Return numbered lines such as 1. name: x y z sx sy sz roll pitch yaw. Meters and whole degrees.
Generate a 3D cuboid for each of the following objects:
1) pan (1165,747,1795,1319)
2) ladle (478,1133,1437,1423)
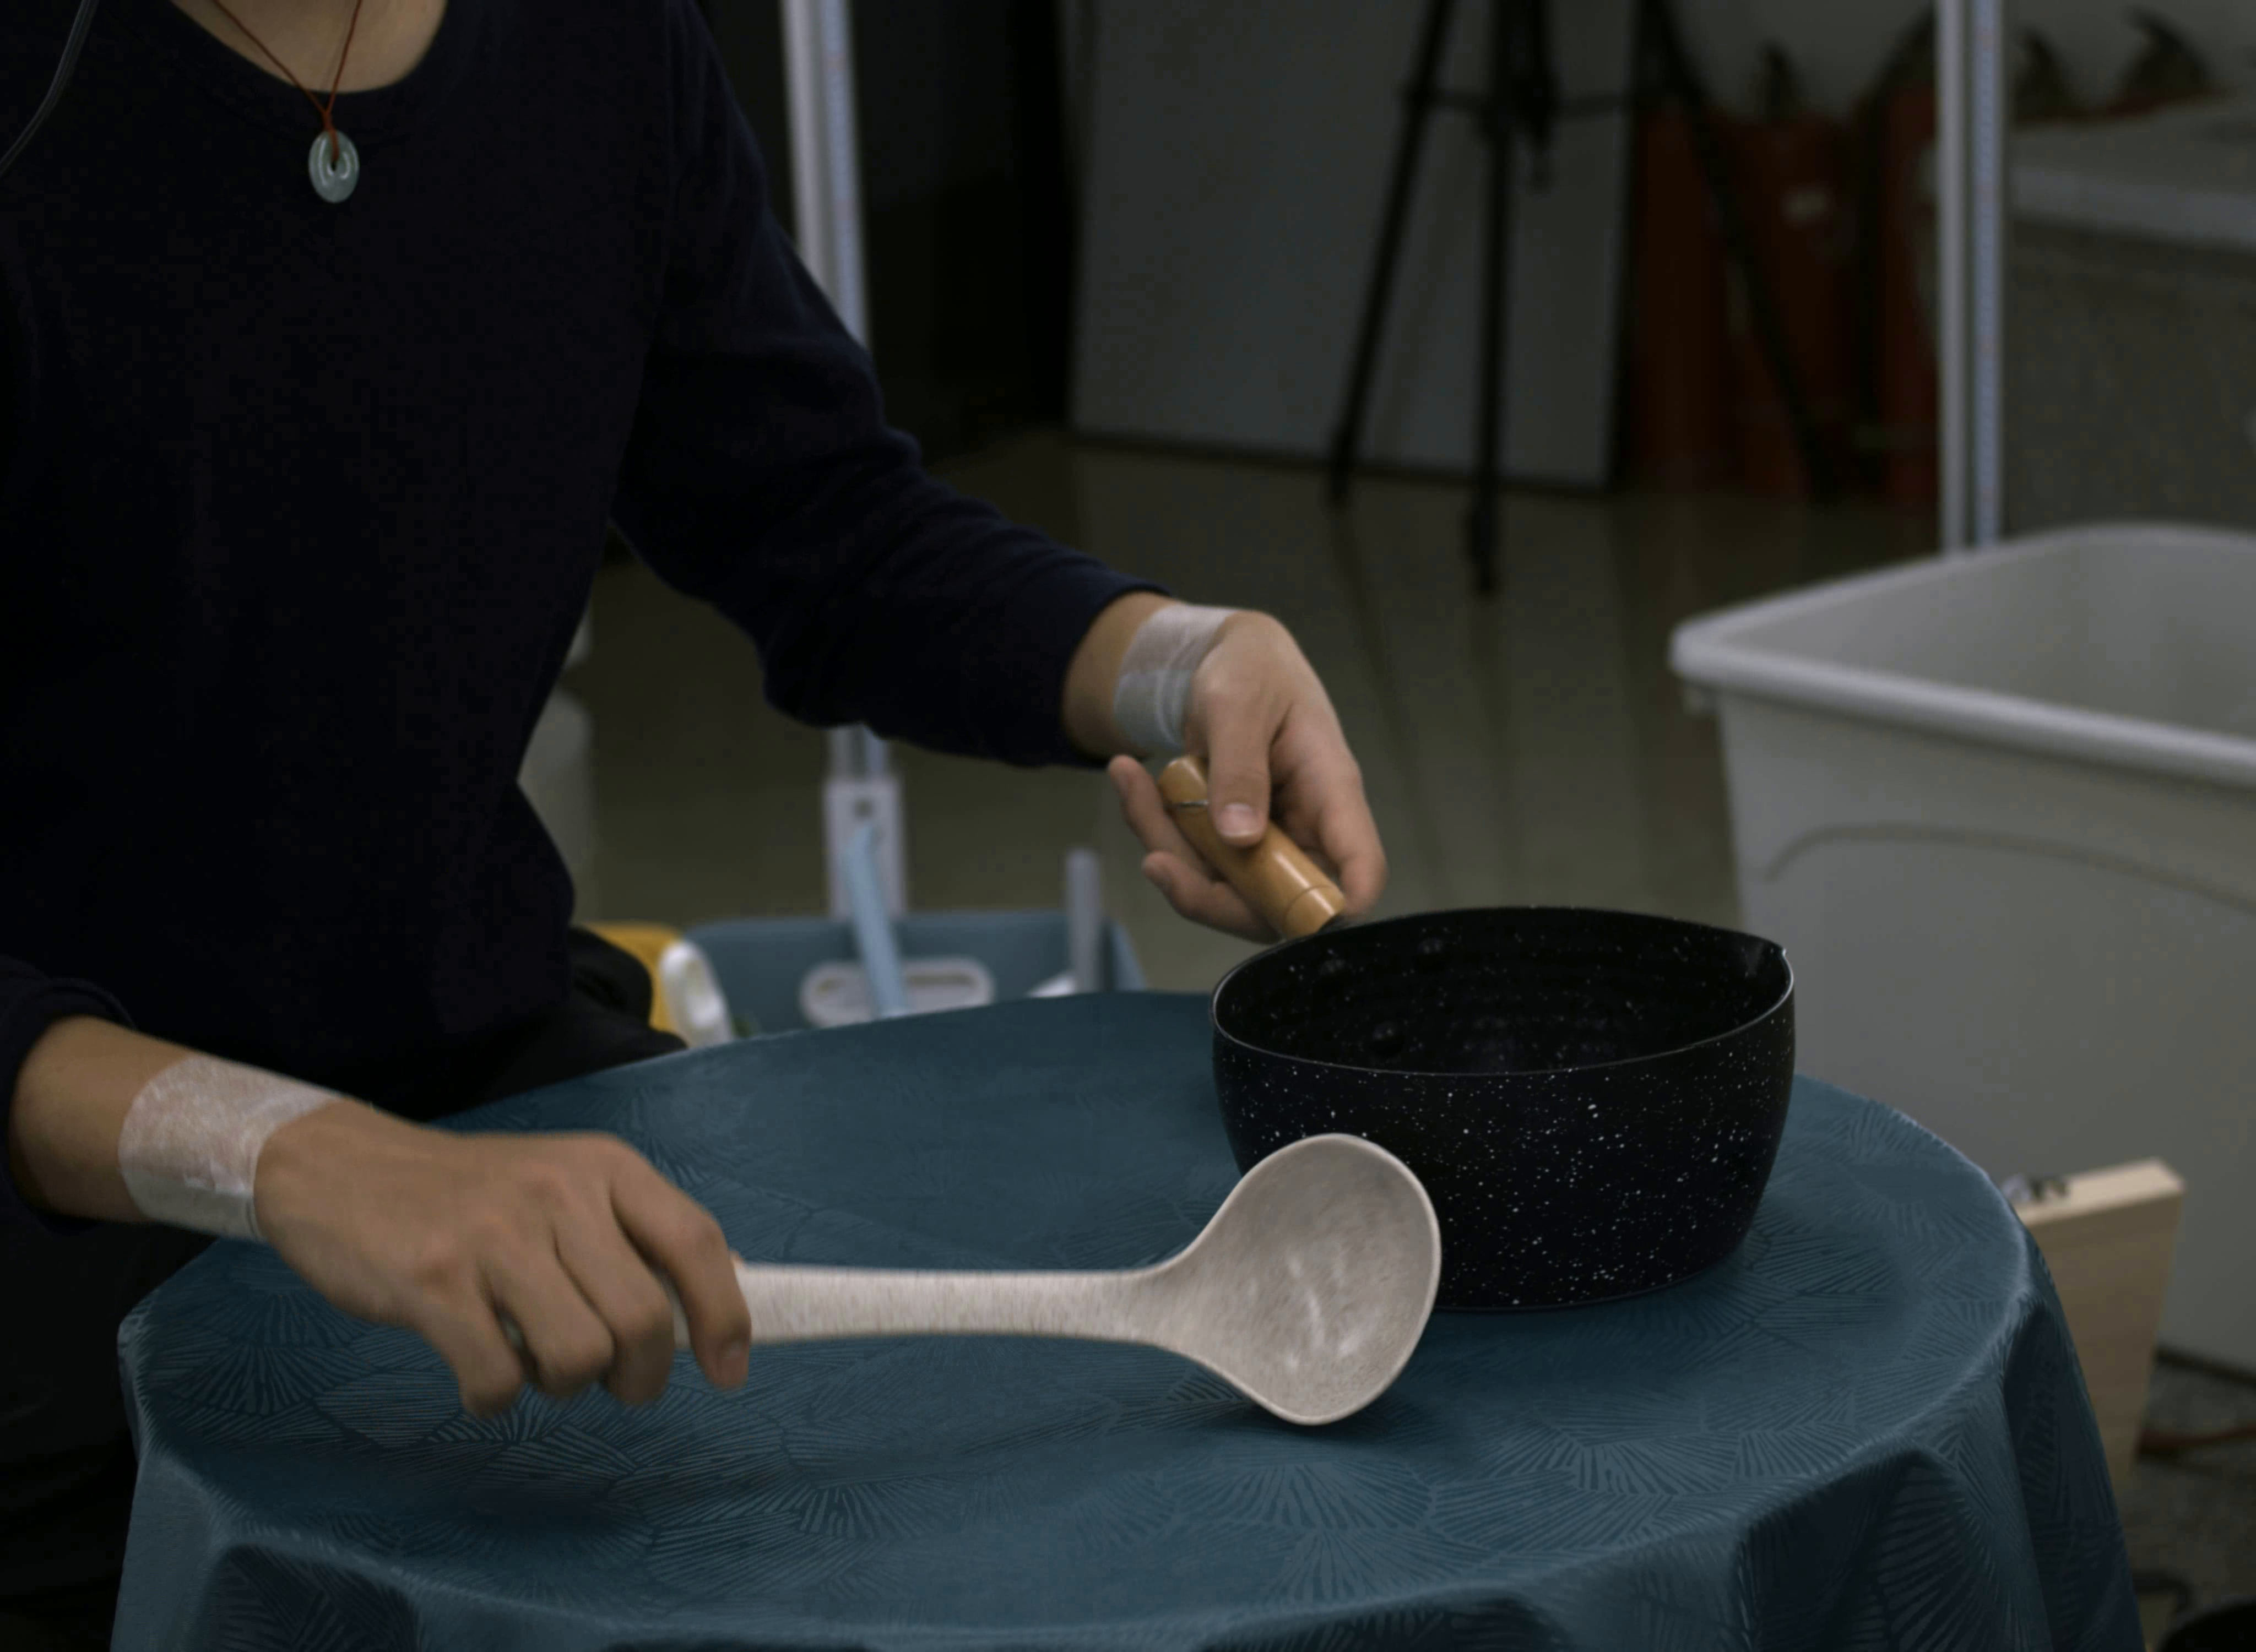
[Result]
1. pan: 0.087 0.062 1.759 0.203 0.109 0.346 -11 16 -21
2. ladle: -0.045 0.130 1.526 0.269 0.070 0.090 1 55 -21
